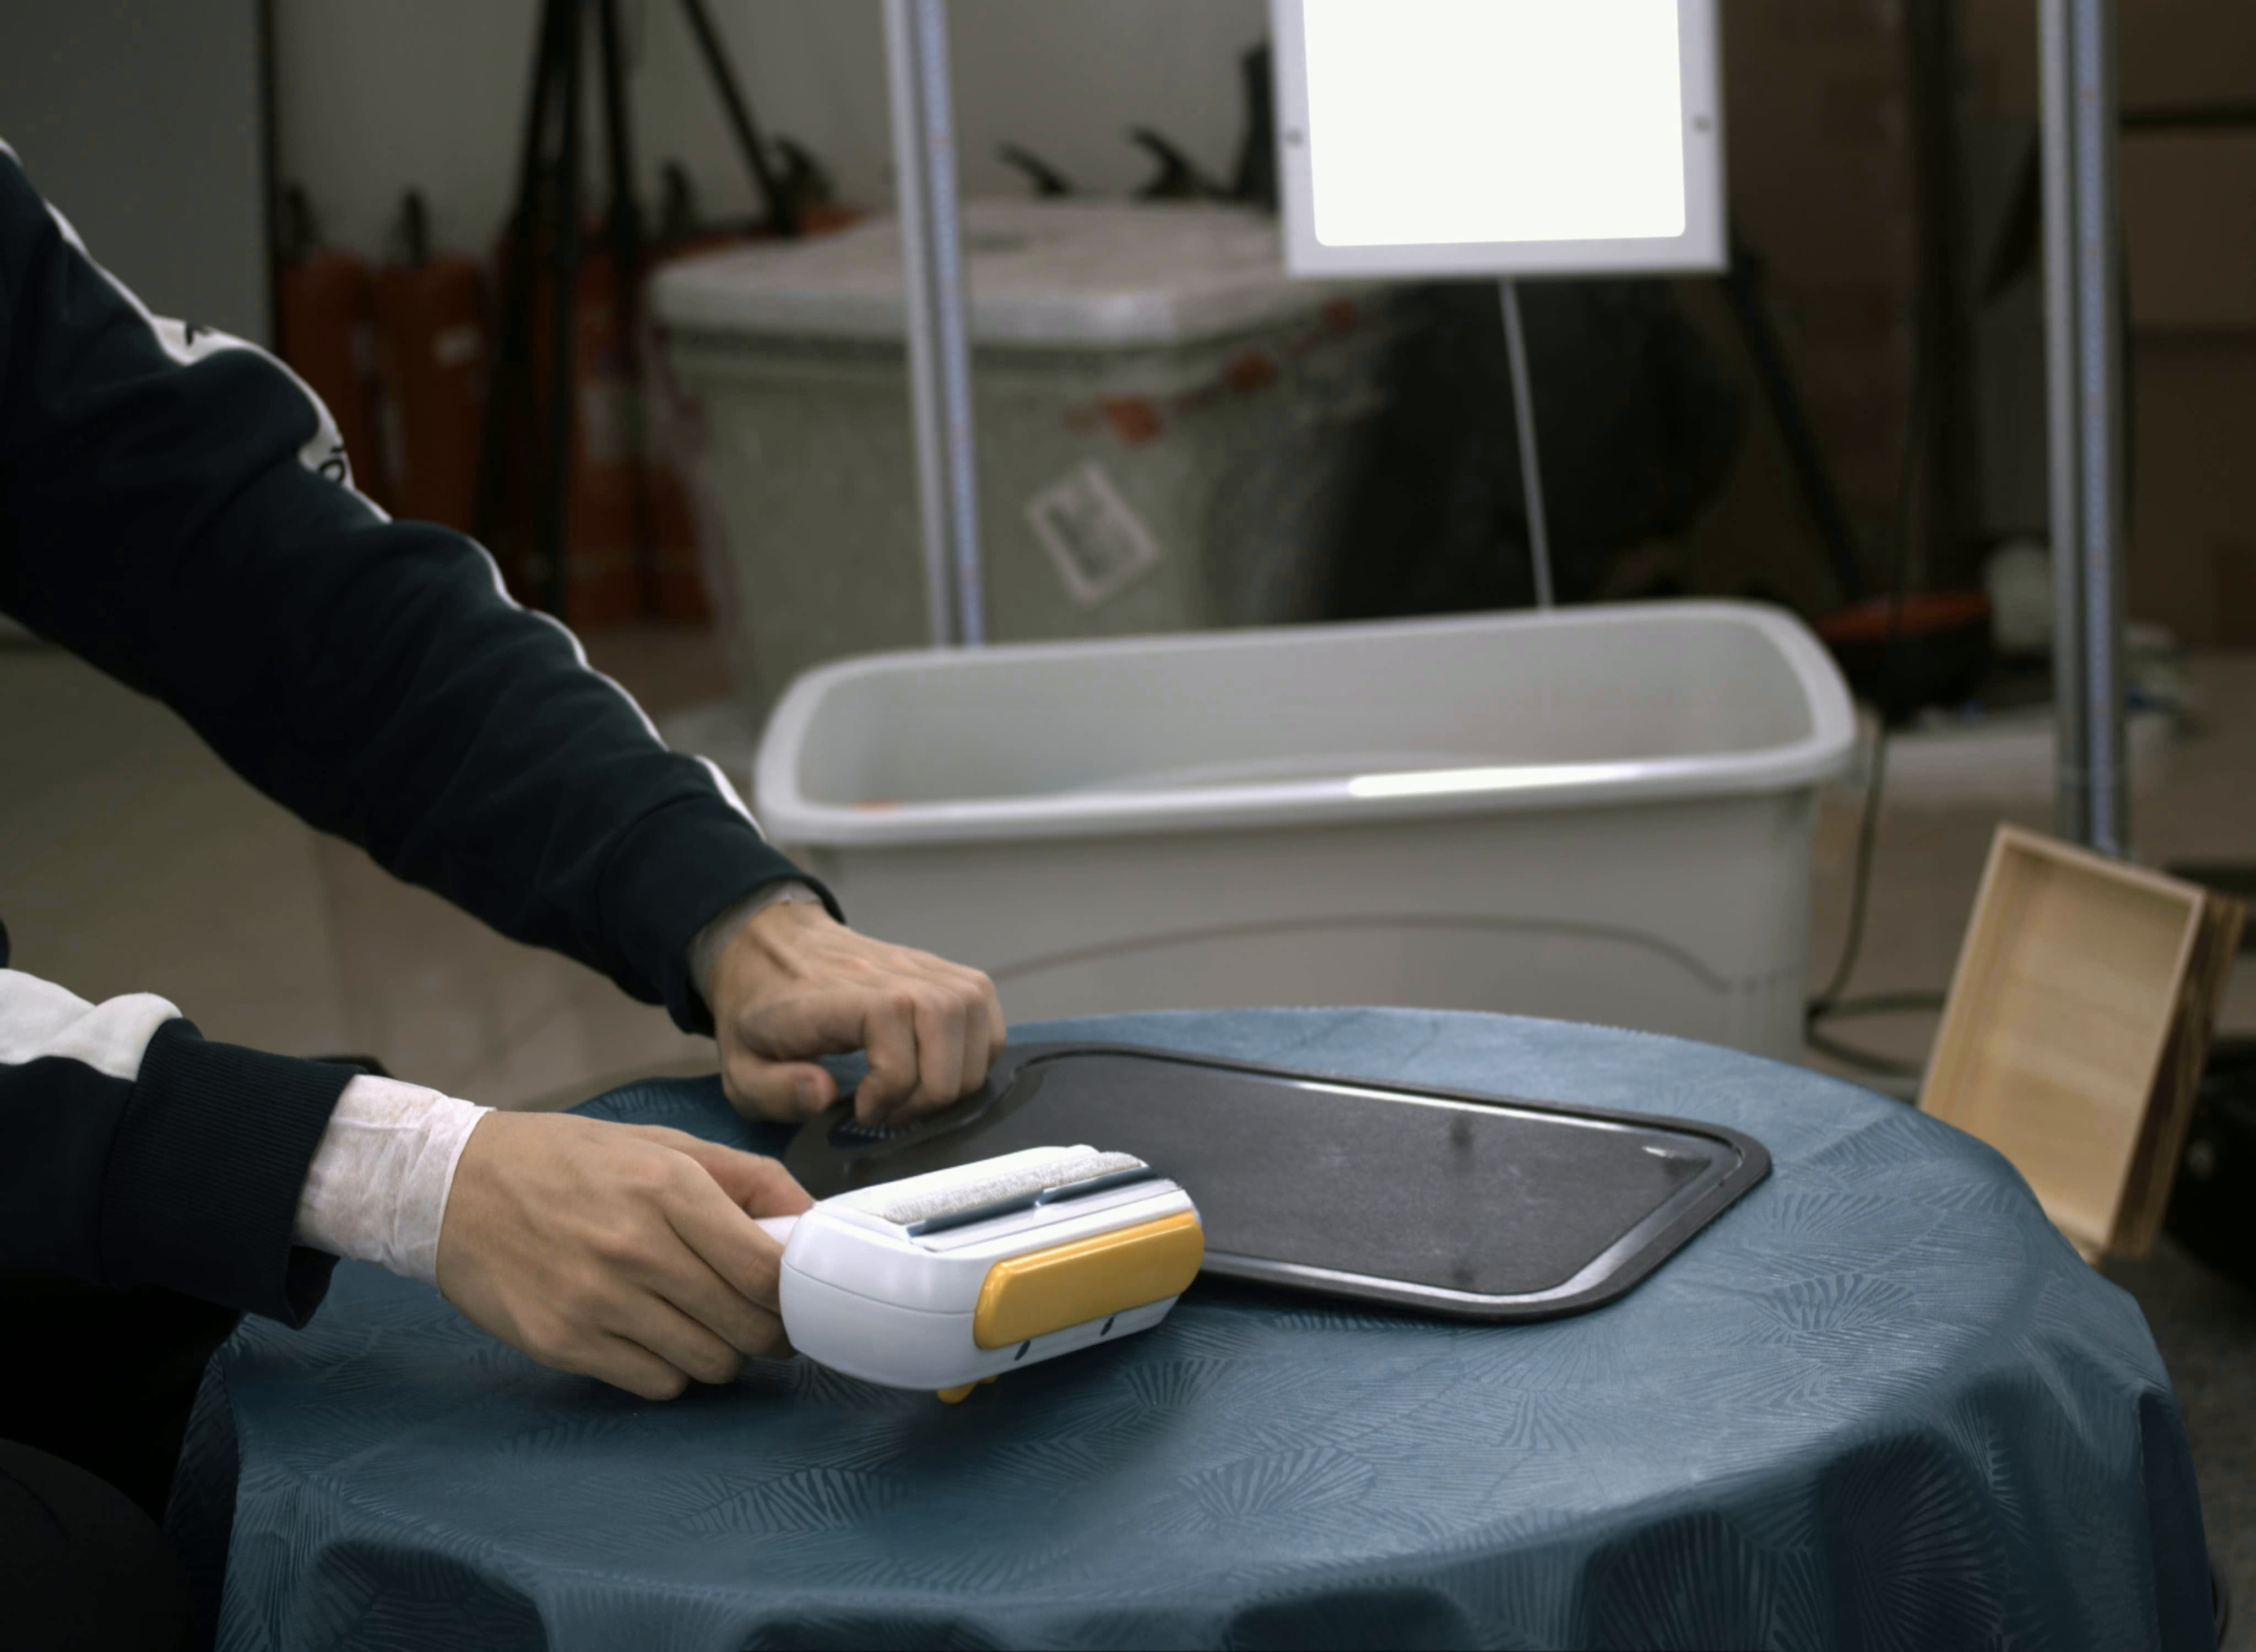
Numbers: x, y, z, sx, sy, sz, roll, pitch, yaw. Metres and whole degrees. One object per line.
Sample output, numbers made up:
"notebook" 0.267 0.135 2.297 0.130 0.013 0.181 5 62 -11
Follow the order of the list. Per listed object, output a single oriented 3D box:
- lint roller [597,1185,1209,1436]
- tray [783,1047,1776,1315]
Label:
"lint roller" -0.091 0.156 1.732 0.196 0.074 0.188 -9 1 35
"tray" 0.045 0.116 1.872 0.331 0.010 0.206 6 17 29
